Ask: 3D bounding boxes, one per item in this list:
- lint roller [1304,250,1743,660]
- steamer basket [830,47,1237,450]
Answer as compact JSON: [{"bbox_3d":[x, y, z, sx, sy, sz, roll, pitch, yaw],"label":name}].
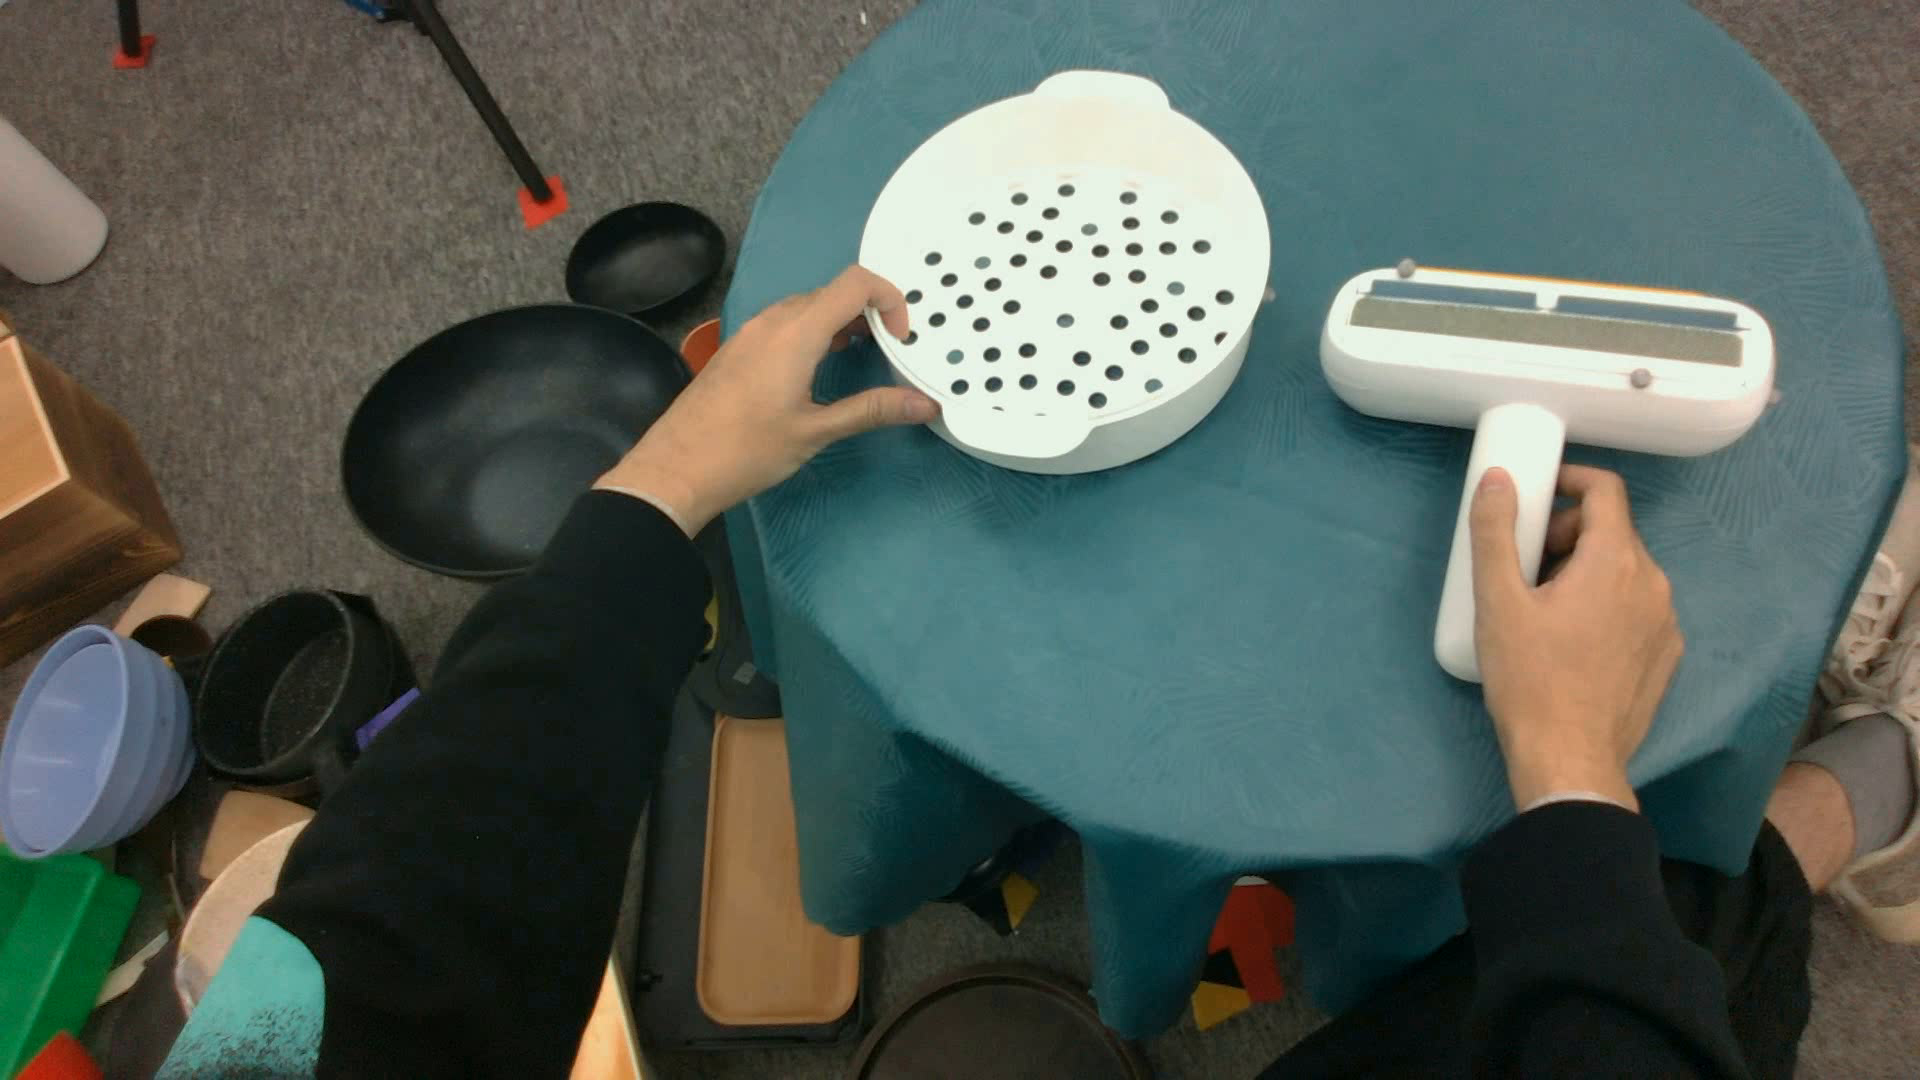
[{"bbox_3d":[0.240,-0.039,0.636,0.193,0.074,0.193,16,69,18],"label":"lint roller"},{"bbox_3d":[0.038,-0.143,0.707,0.202,0.069,0.231,10,69,11],"label":"steamer basket"}]
